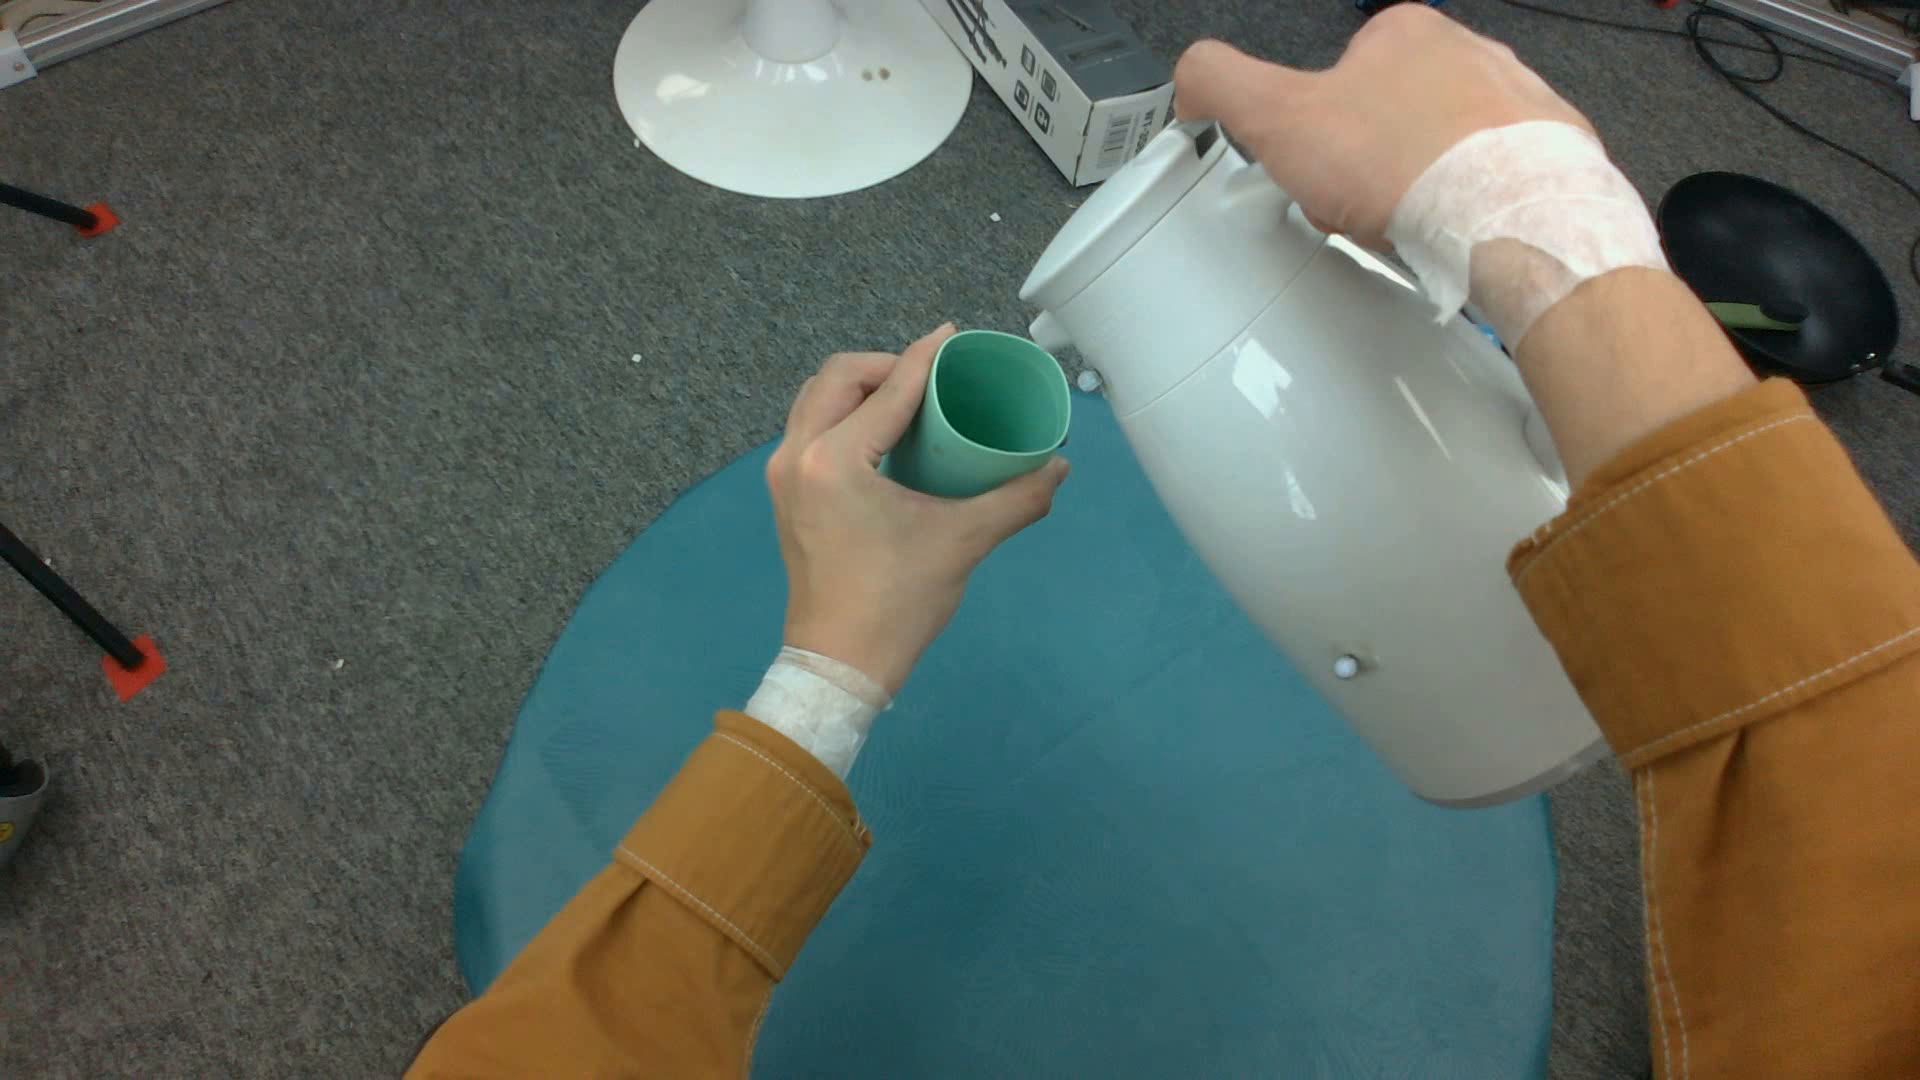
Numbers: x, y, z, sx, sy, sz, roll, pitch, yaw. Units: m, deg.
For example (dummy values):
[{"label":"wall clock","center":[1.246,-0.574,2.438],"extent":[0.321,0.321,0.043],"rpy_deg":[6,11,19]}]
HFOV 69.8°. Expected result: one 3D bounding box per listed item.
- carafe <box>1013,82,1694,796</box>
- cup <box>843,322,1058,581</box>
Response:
[{"label":"carafe","center":[0.144,-0.047,0.493],"extent":[0.248,0.167,0.133],"rpy_deg":[46,48,-8]},{"label":"cup","center":[-0.008,-0.036,0.637],"extent":[0.067,0.131,0.067],"rpy_deg":[10,59,-17]}]
